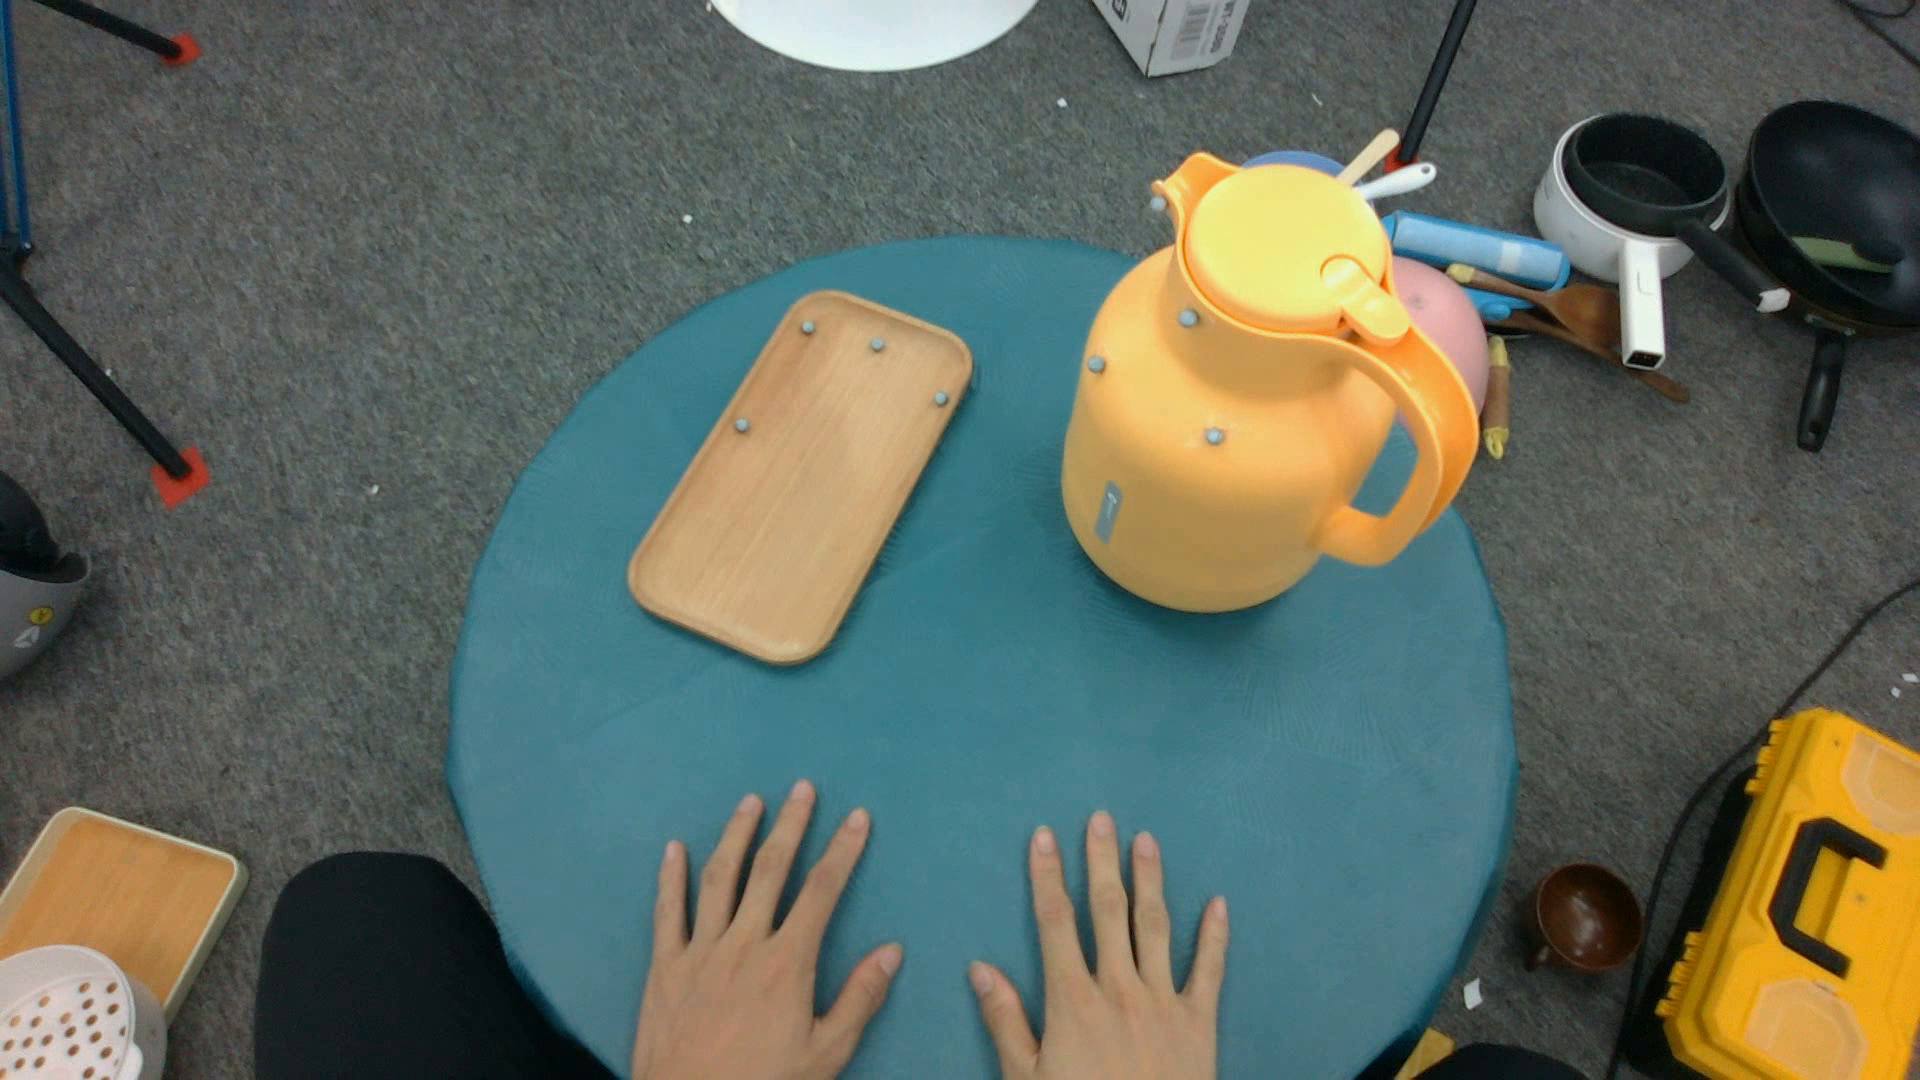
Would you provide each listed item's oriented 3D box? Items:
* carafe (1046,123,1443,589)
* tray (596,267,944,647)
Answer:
[{"bbox_3d":[0.142,-0.077,0.712,0.164,0.259,0.202,-36,68,-16],"label":"carafe"},{"bbox_3d":[-0.108,-0.056,0.827,0.130,0.023,0.252,21,64,11],"label":"tray"}]
